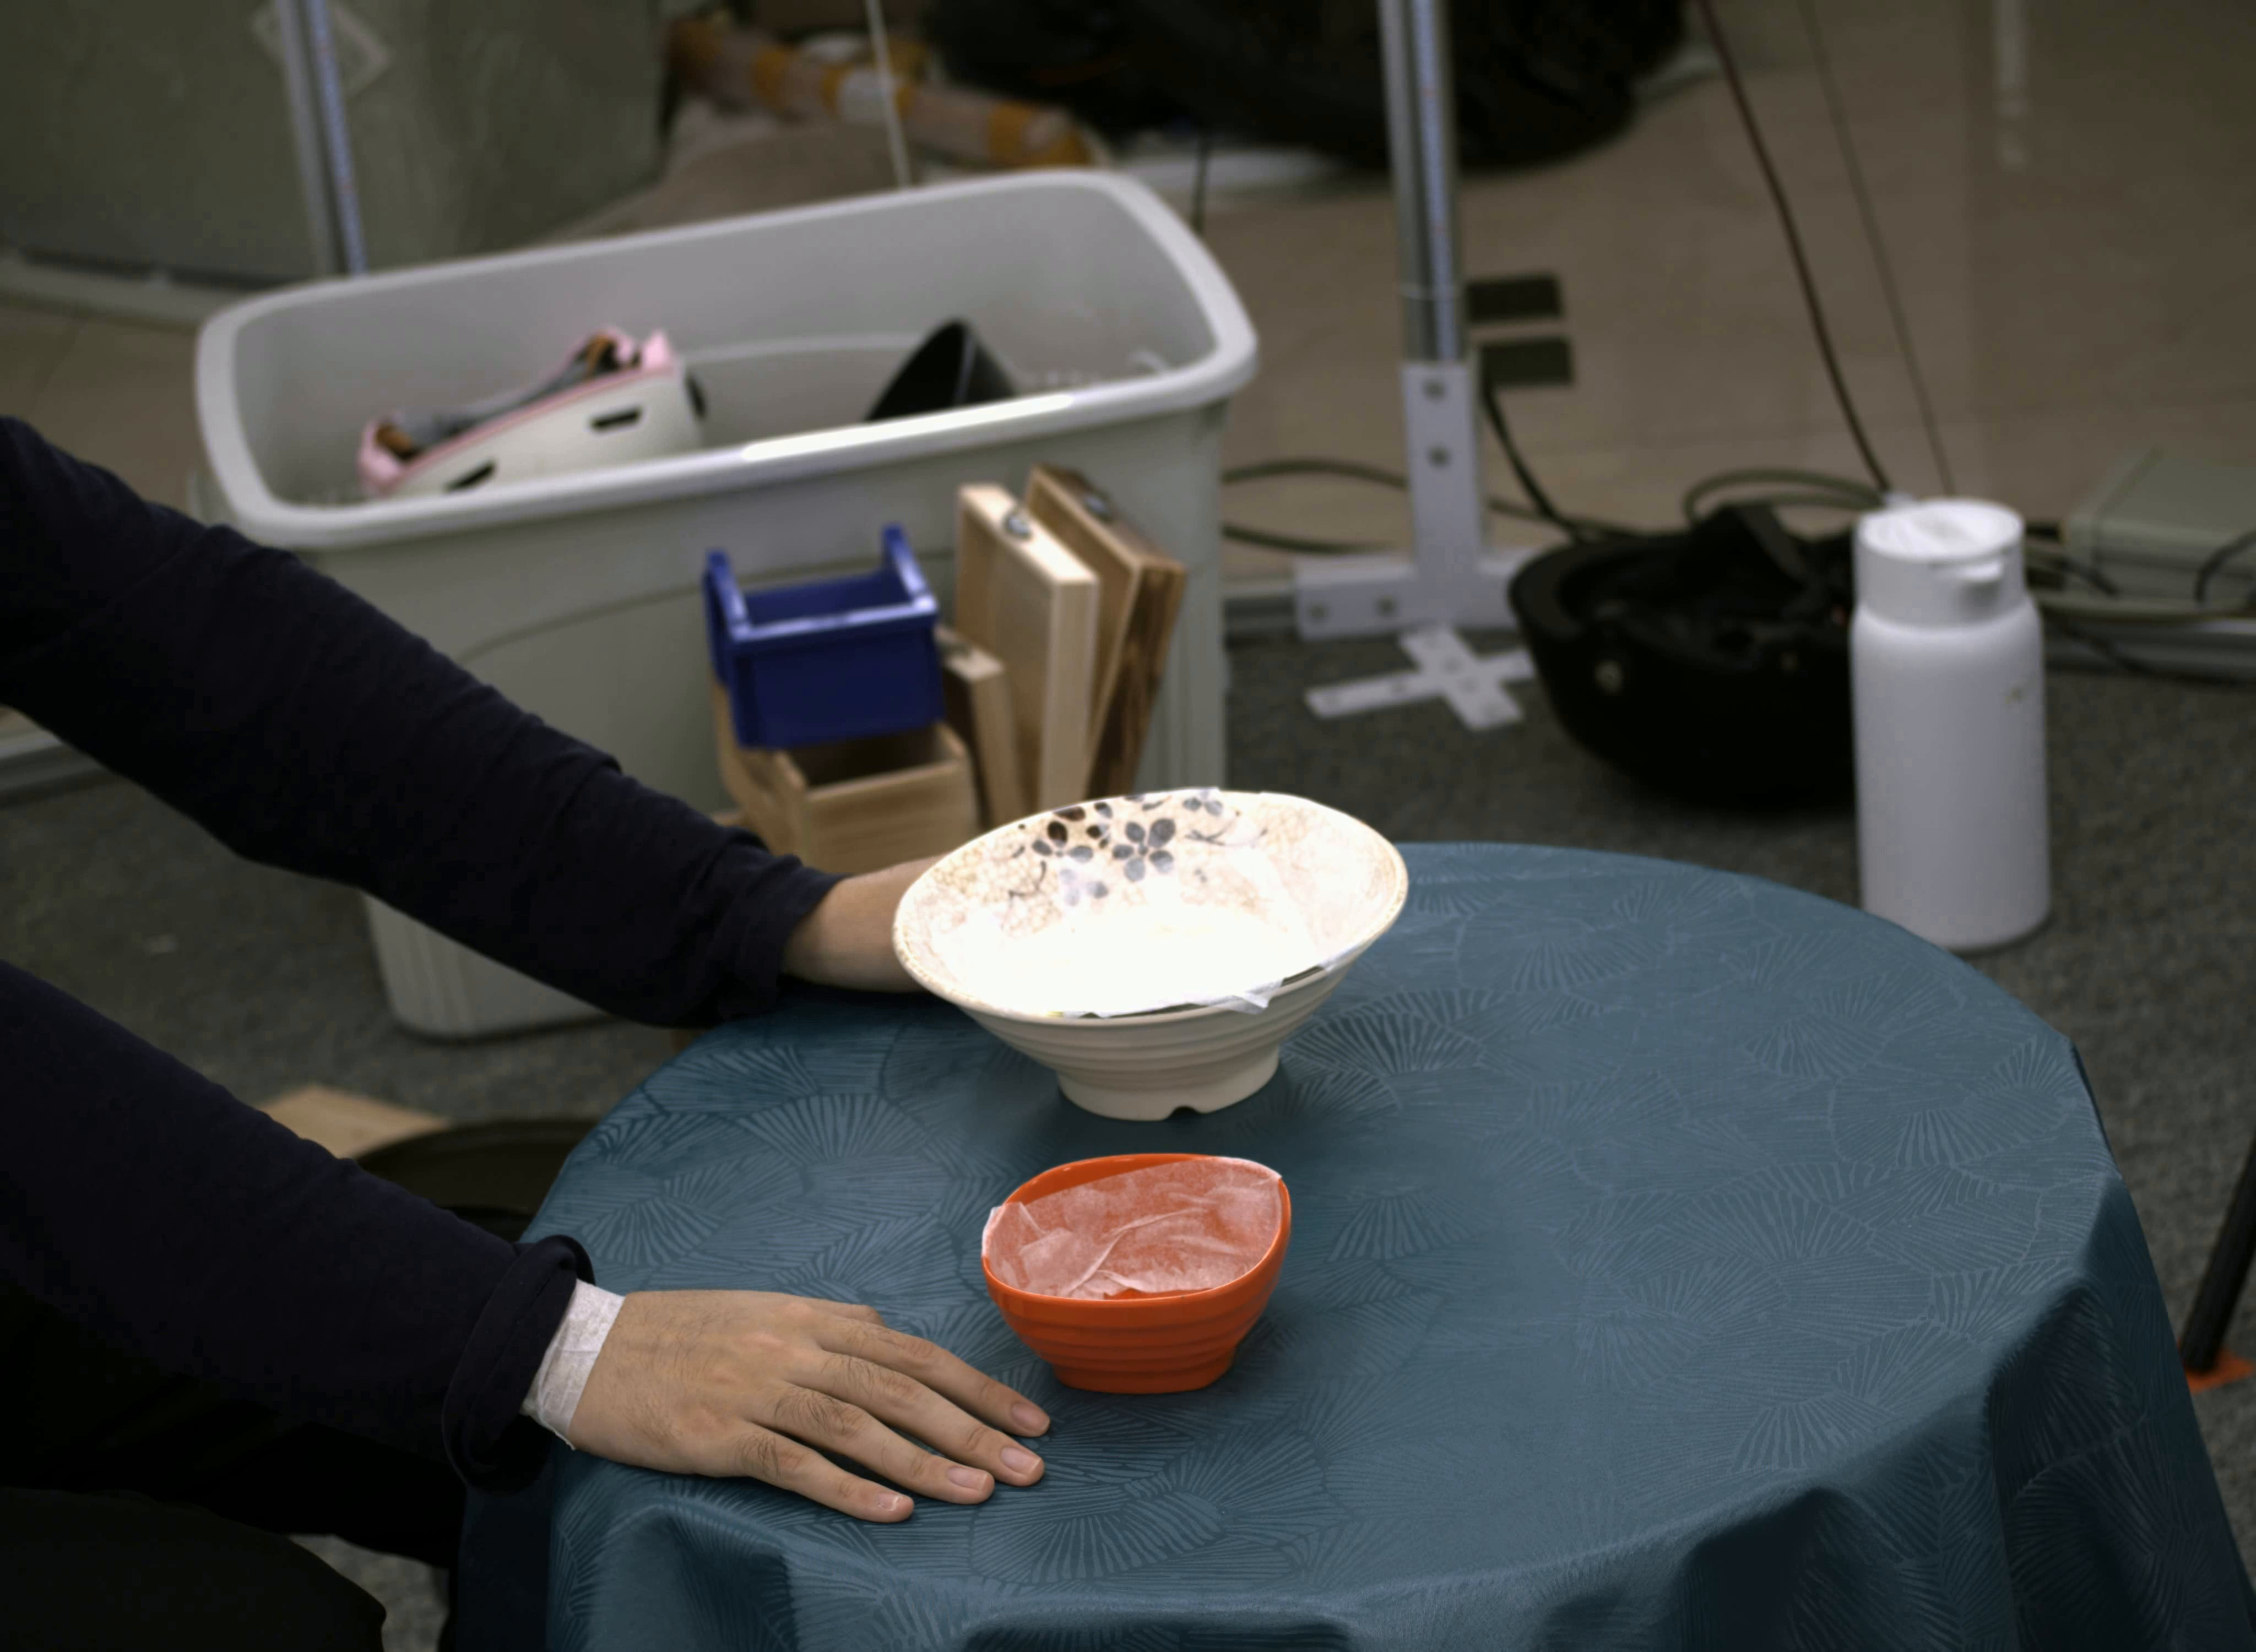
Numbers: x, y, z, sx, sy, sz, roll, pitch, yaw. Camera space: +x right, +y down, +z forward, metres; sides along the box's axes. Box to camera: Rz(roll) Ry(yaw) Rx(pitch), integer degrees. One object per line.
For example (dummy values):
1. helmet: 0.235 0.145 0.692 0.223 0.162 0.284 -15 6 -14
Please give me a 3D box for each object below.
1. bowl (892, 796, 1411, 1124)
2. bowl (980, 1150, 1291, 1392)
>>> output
1. bowl: 0.013 0.063 2.221 0.203 0.079 0.201 -6 24 3
2. bowl: 0.005 0.164 2.034 0.119 0.052 0.117 -5 26 3
